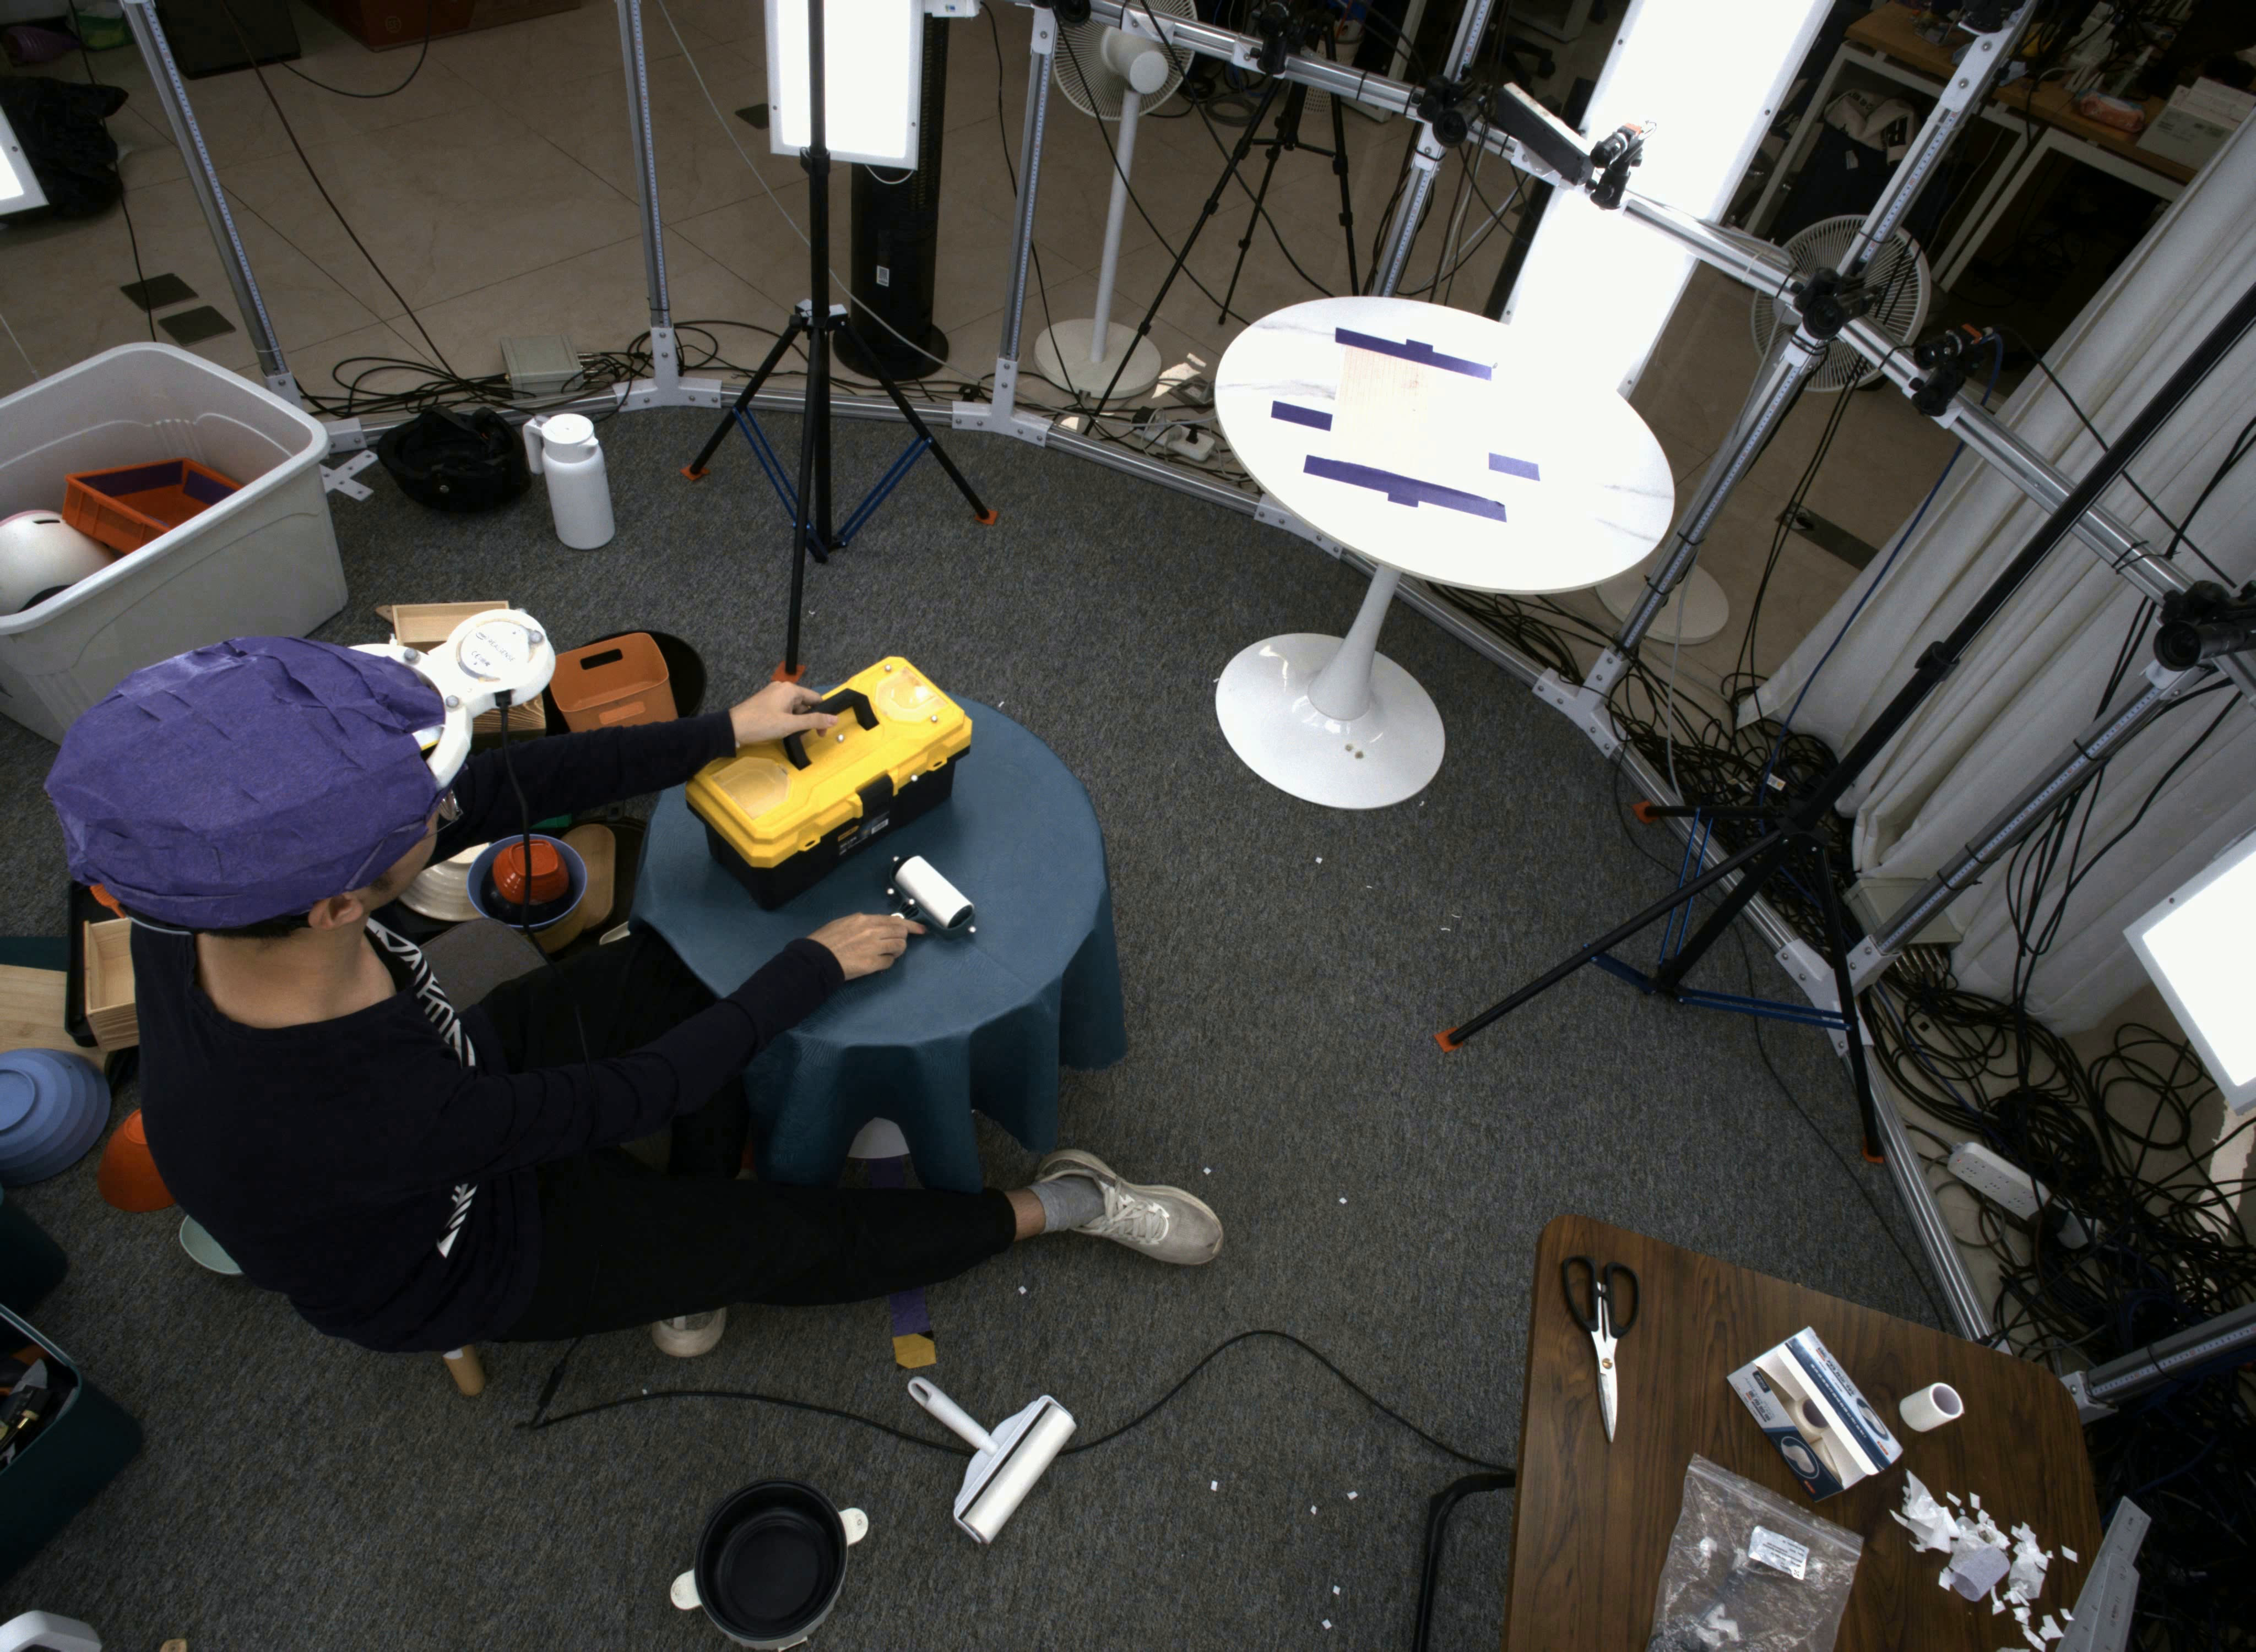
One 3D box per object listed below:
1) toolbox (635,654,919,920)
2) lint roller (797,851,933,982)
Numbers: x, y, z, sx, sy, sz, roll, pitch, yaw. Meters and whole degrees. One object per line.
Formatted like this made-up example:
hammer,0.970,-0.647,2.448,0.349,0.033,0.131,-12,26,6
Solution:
toolbox,-0.438,-0.050,1.657,0.177,0.176,0.352,38,55,17
lint roller,-0.346,0.124,1.632,0.132,0.049,0.180,39,55,14
